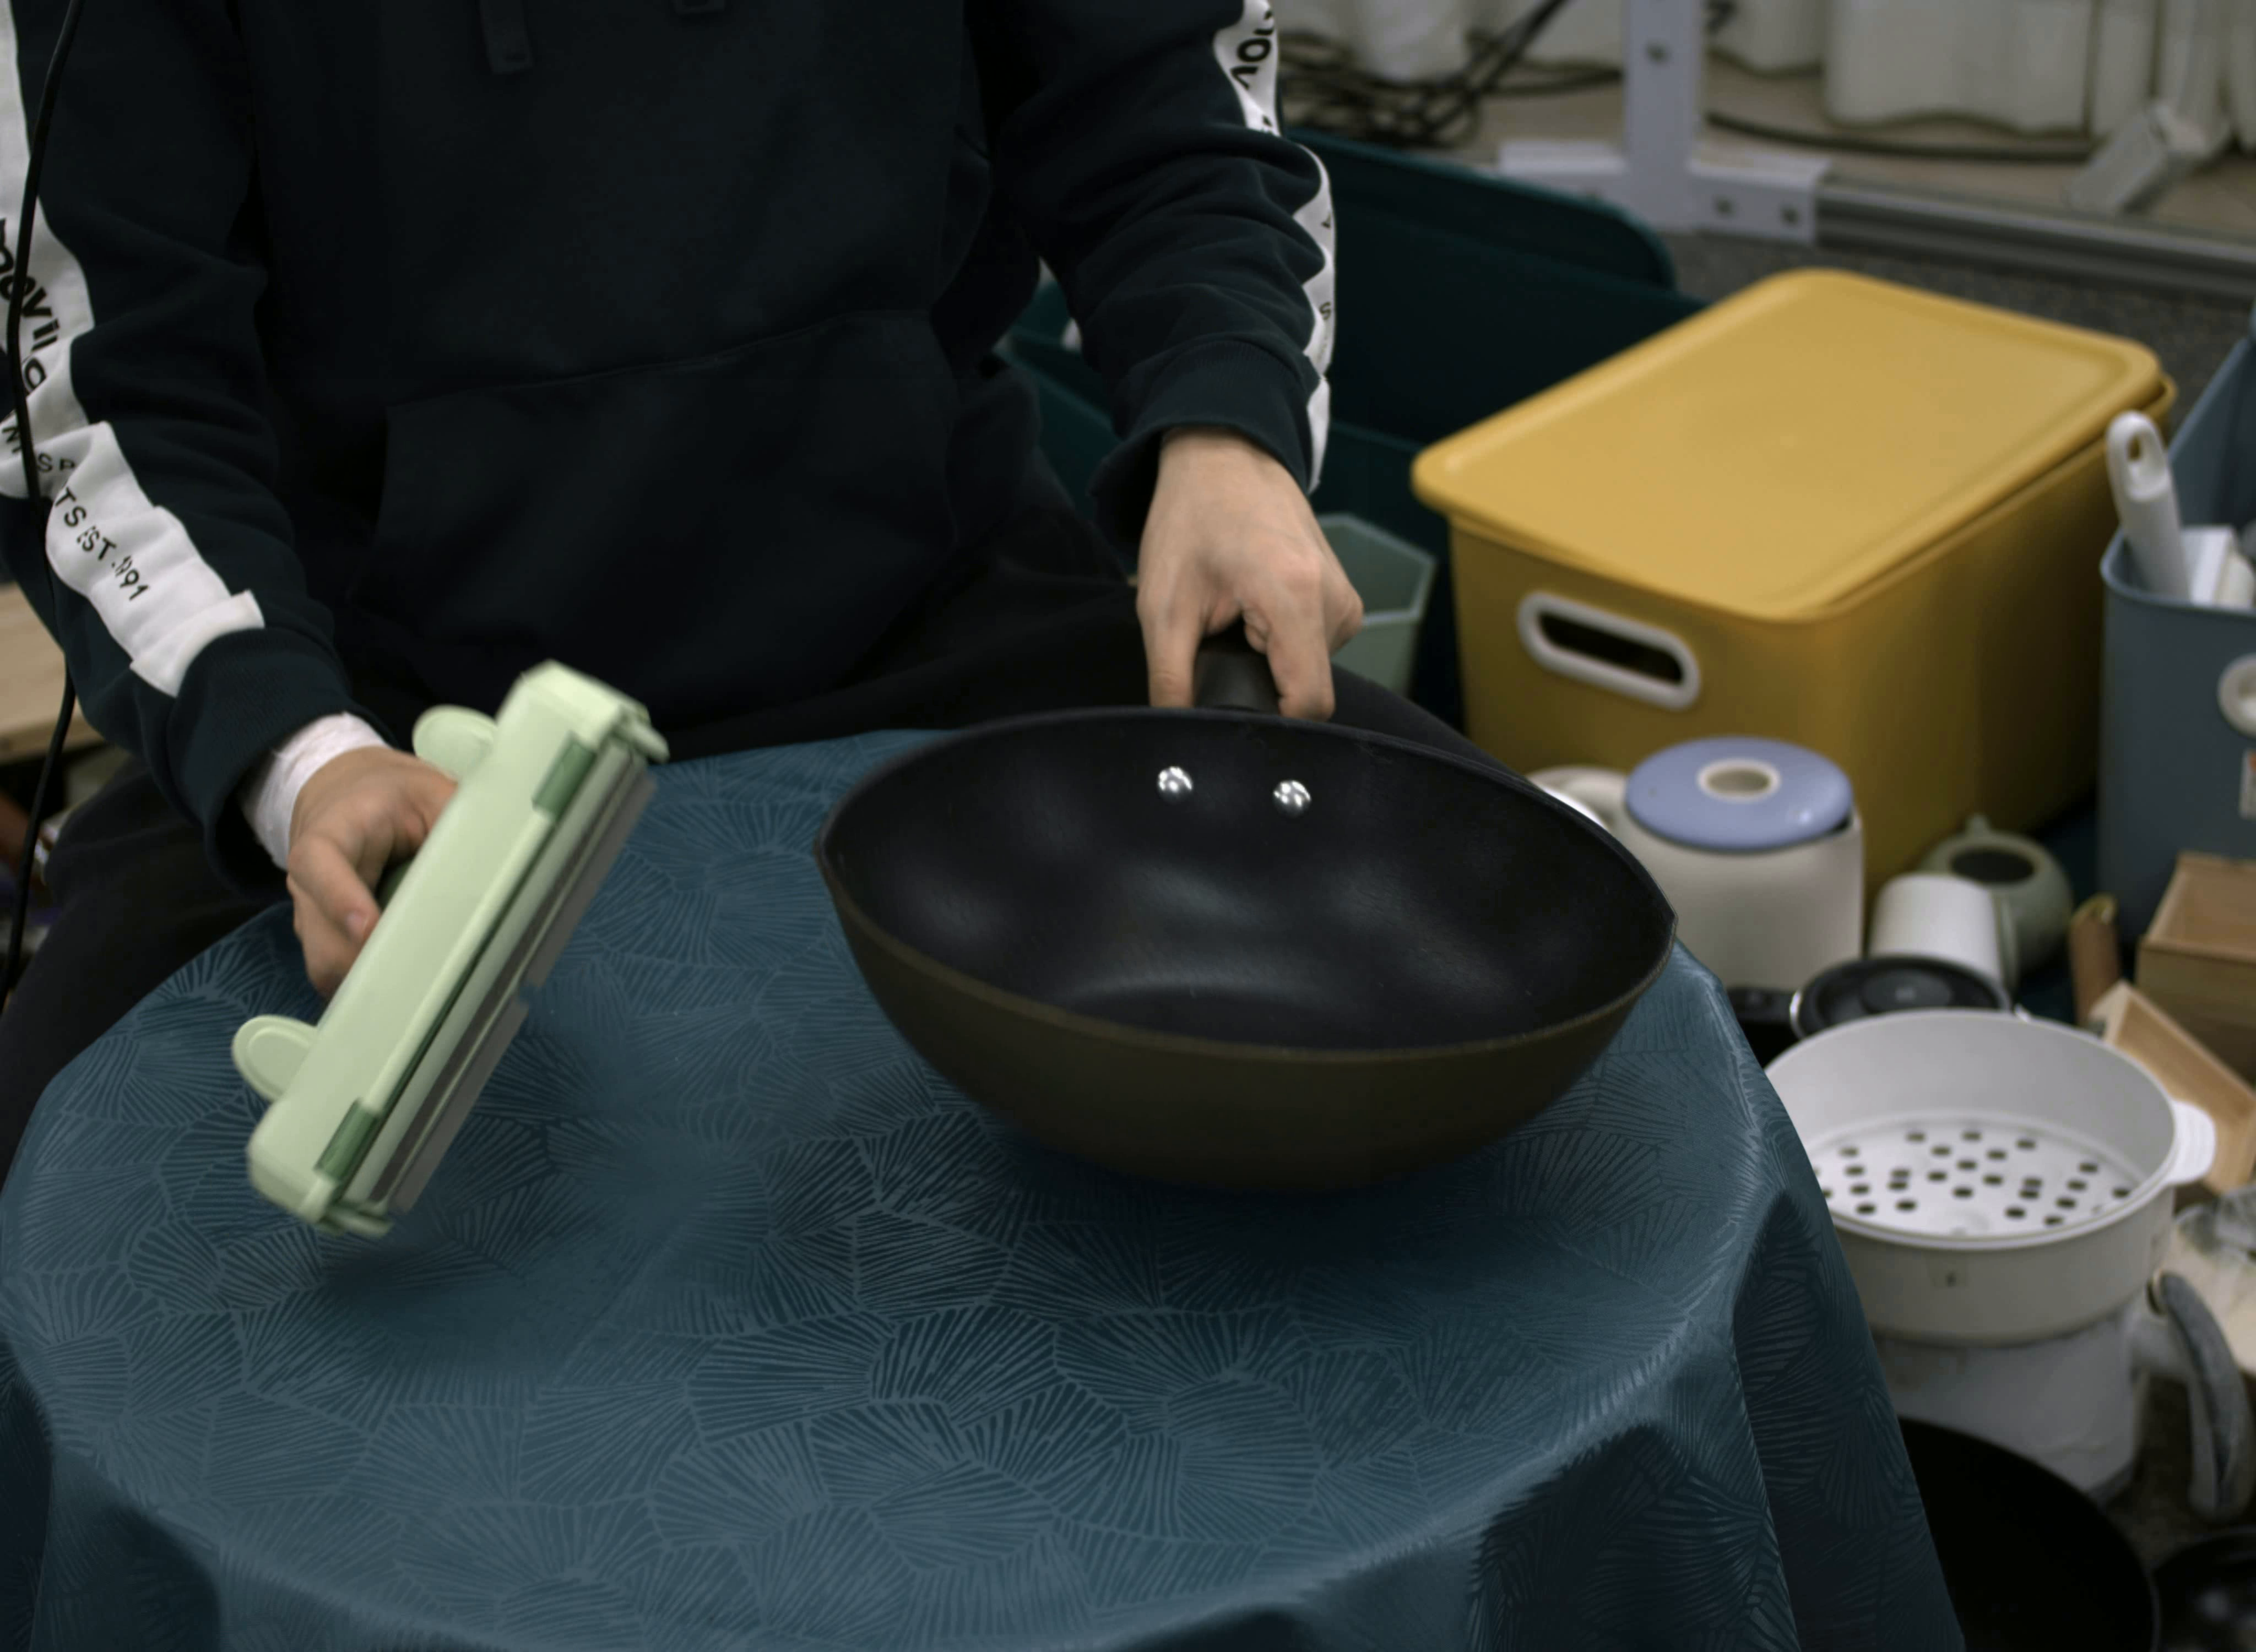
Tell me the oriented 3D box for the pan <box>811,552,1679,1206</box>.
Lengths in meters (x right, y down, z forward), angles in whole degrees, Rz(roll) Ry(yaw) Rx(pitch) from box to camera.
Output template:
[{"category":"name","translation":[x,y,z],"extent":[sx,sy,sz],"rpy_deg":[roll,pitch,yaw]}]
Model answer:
[{"category":"pan","translation":[0.036,0.018,1.949],"extent":[0.287,0.086,0.469],"rpy_deg":[4,23,-2]}]

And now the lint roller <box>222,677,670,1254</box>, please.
[{"category":"lint roller","translation":[-0.245,0.030,1.867],"extent":[0.082,0.199,0.183],"rpy_deg":[34,-3,-26]}]
